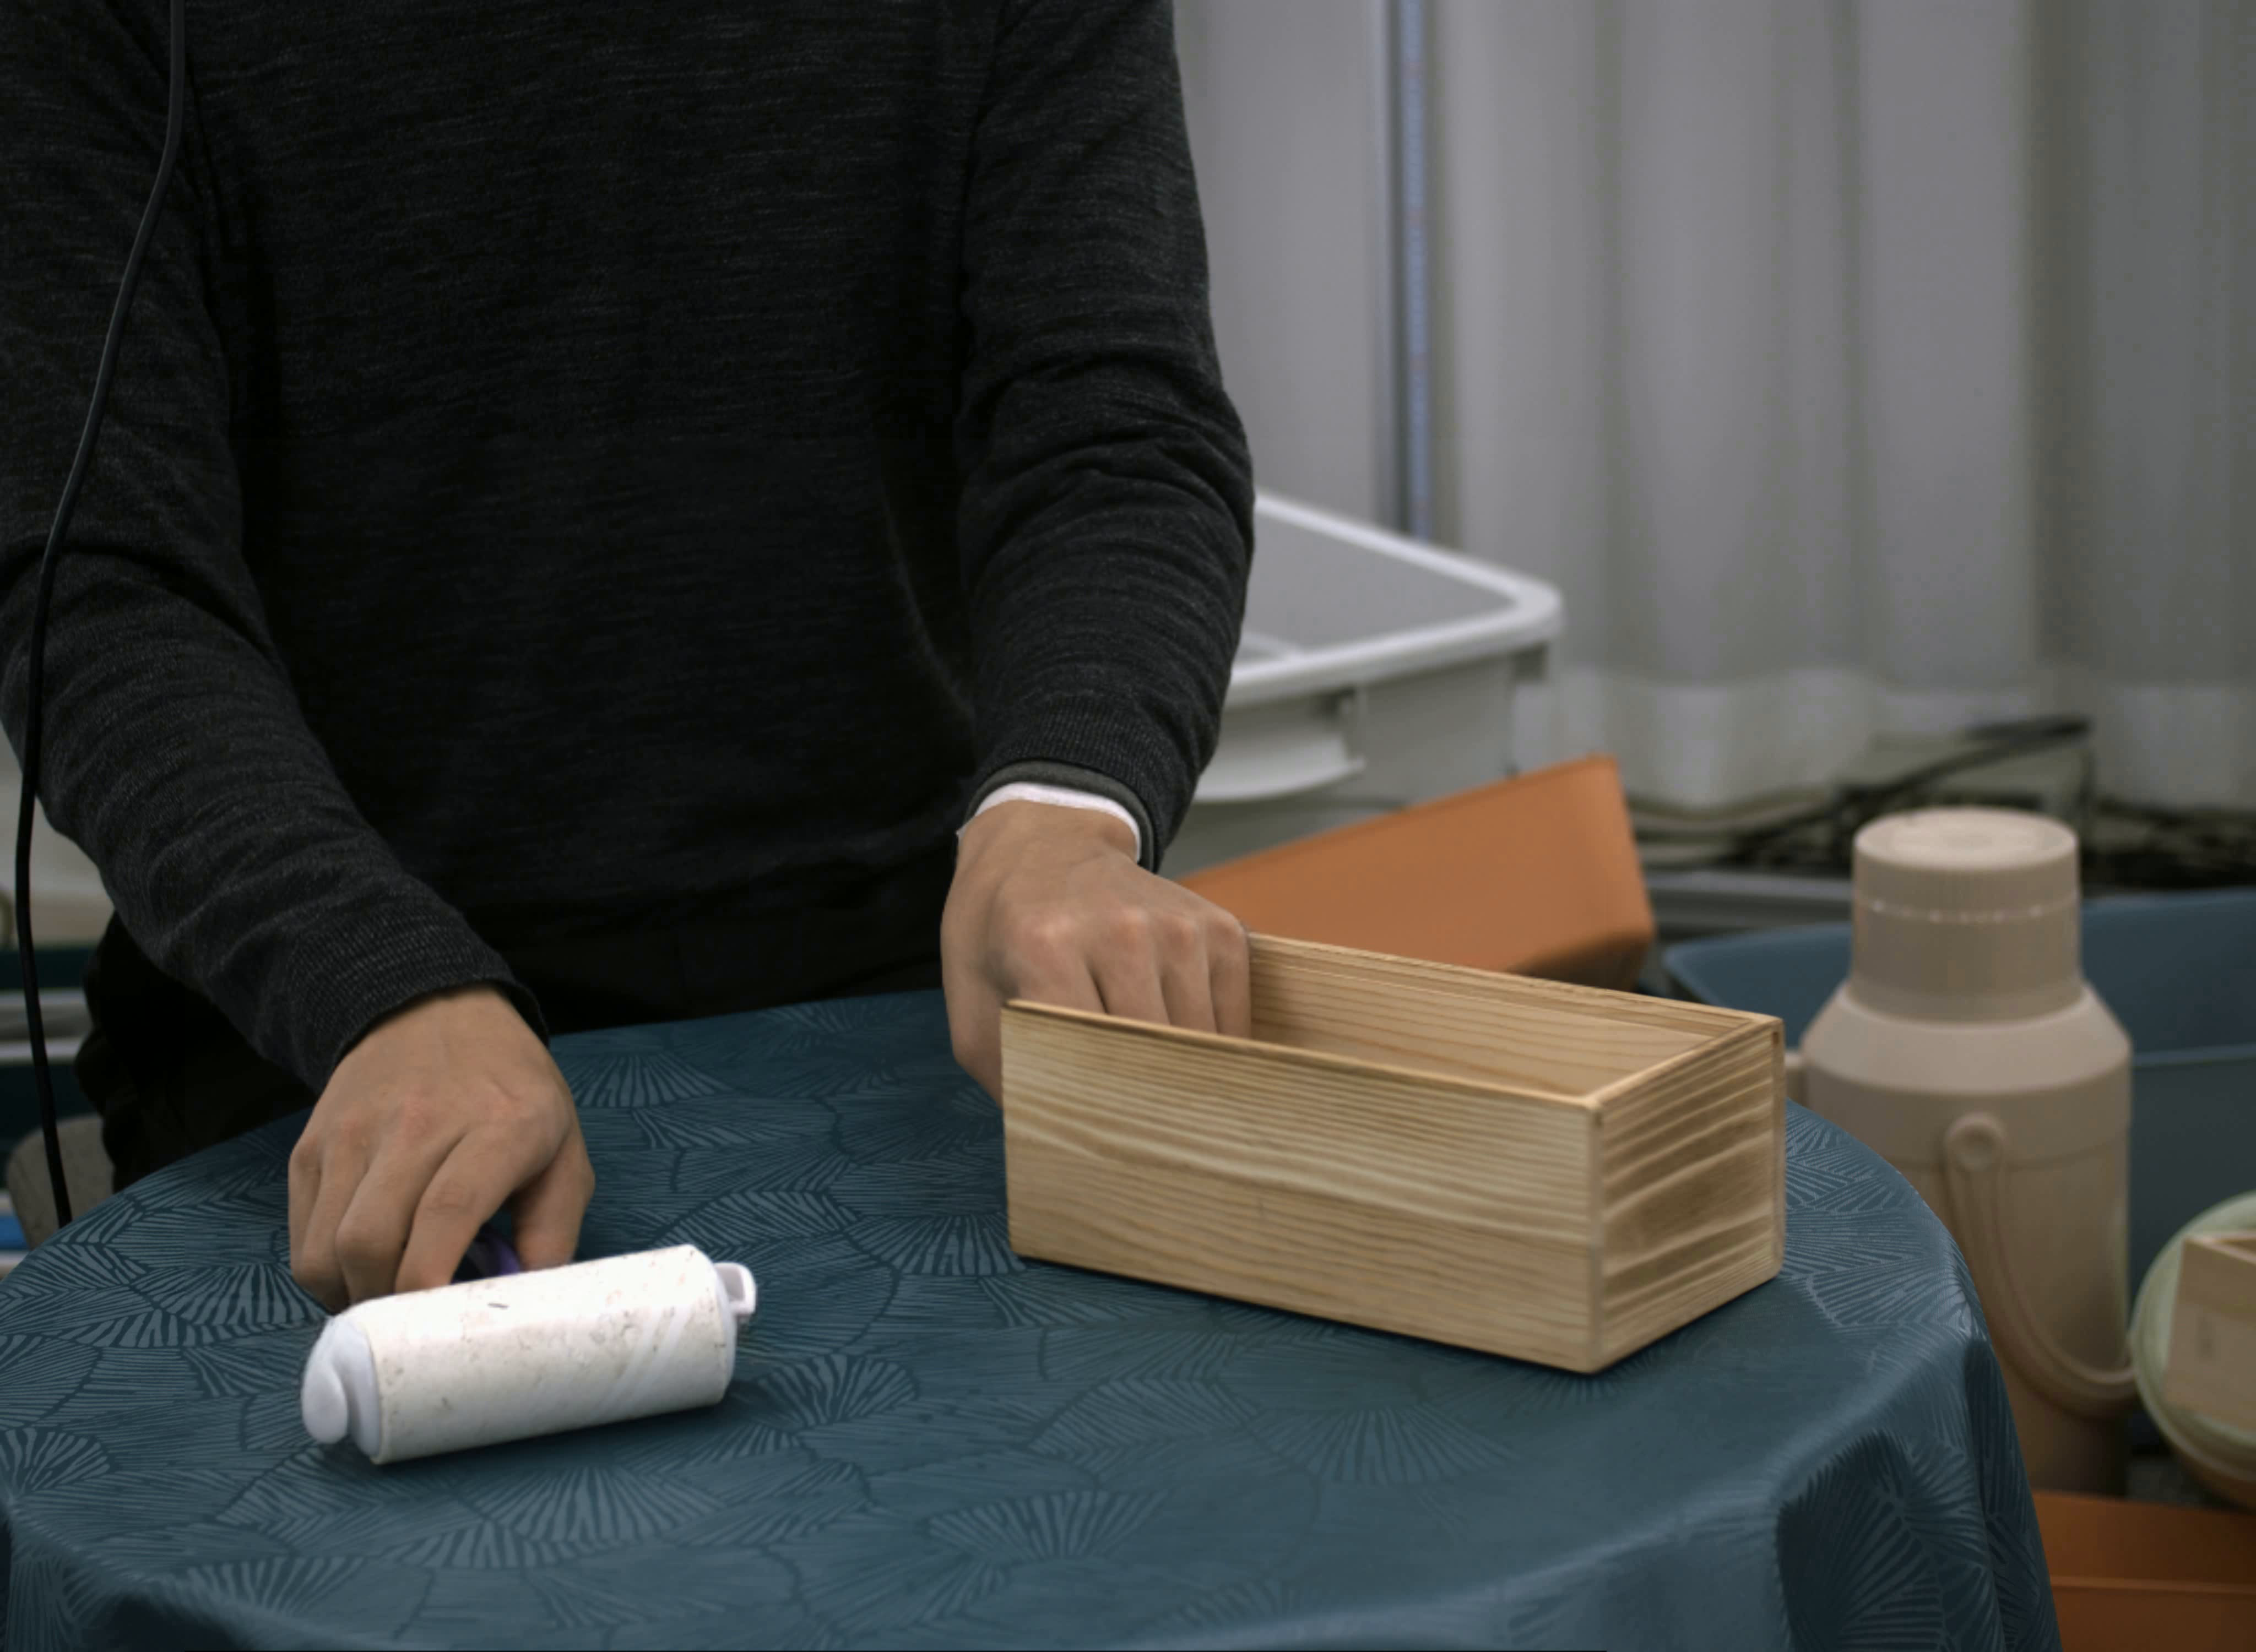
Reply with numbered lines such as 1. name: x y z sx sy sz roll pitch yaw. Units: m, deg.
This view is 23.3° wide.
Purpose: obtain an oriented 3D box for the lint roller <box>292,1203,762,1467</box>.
1. lint roller: -0.187 0.129 1.592 0.132 0.050 0.182 -9 20 -16

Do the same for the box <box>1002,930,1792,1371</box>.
1. box: 0.079 0.093 1.624 0.212 0.080 0.107 7 17 36
